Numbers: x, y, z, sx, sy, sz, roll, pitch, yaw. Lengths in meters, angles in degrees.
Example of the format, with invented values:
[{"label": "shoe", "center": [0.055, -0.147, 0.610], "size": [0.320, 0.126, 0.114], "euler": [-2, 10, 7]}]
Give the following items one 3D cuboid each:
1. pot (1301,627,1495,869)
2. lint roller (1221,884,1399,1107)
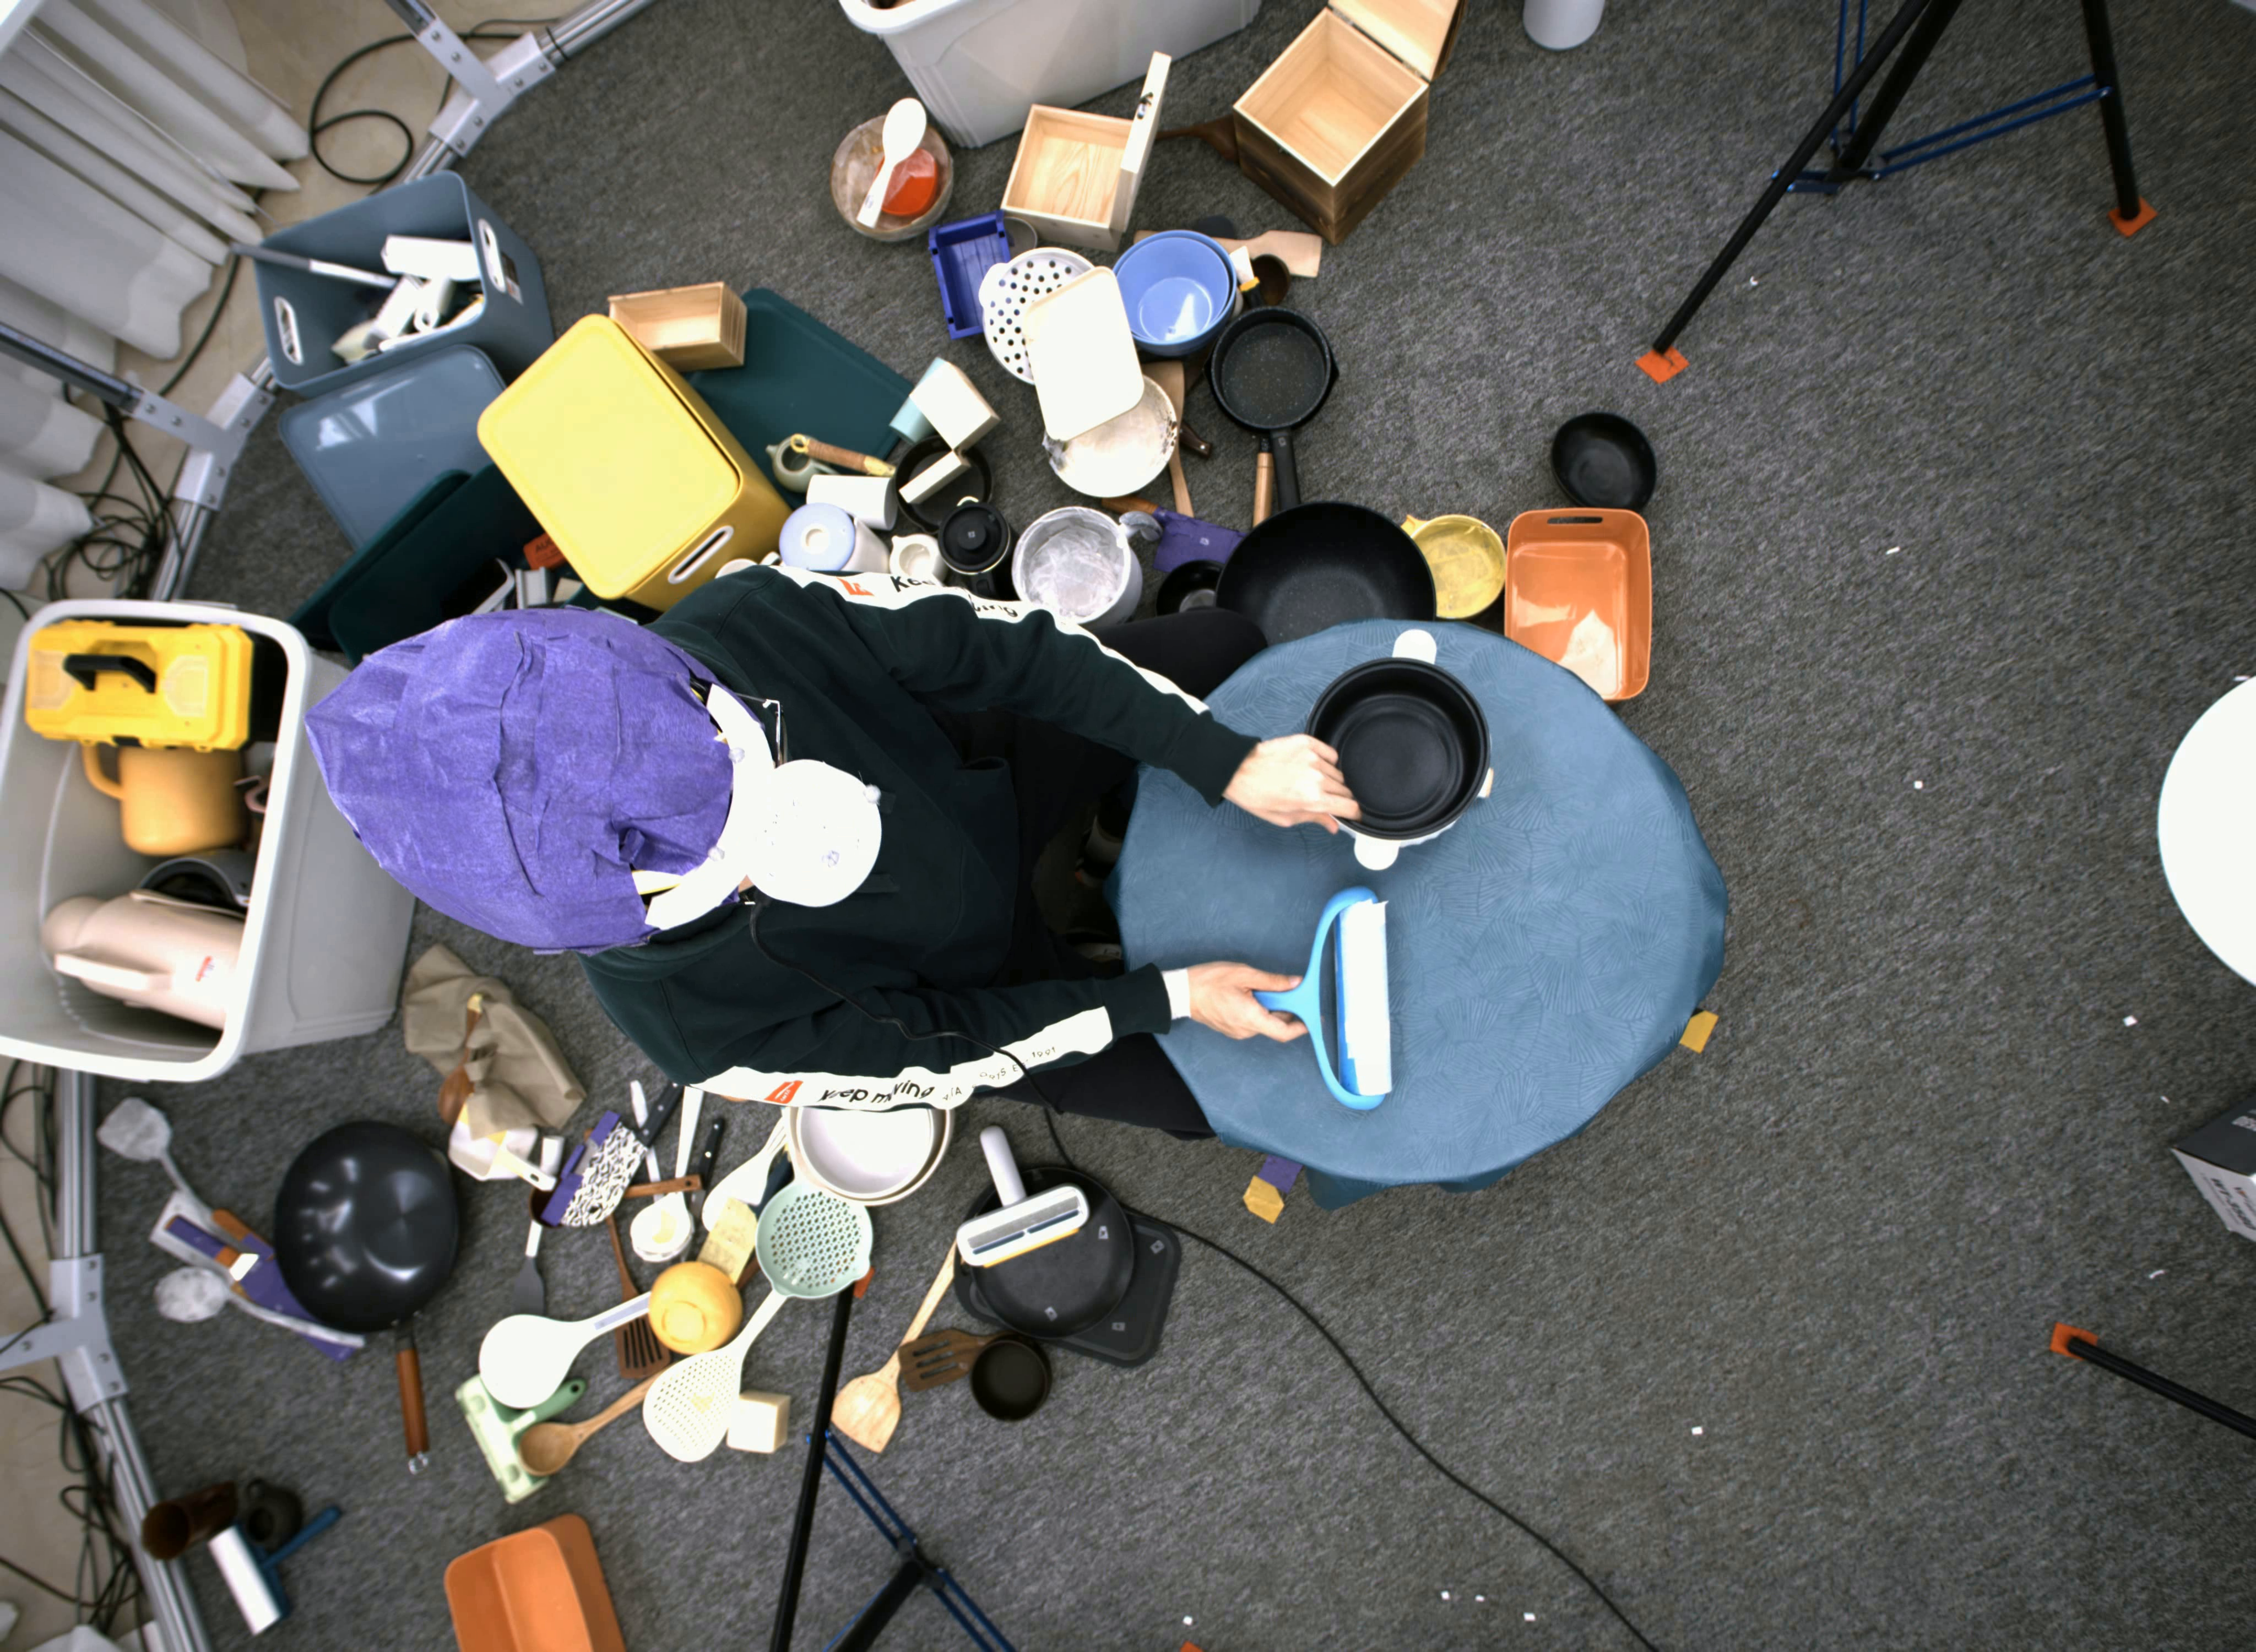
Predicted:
[{"label": "pot", "center": [0.275, -0.071, 1.390], "size": [0.191, 0.142, 0.240], "euler": [9, 88, 13]}, {"label": "lint roller", "center": [0.186, 0.179, 1.429], "size": [0.181, 0.067, 0.229], "euler": [-6, 92, 7]}]
